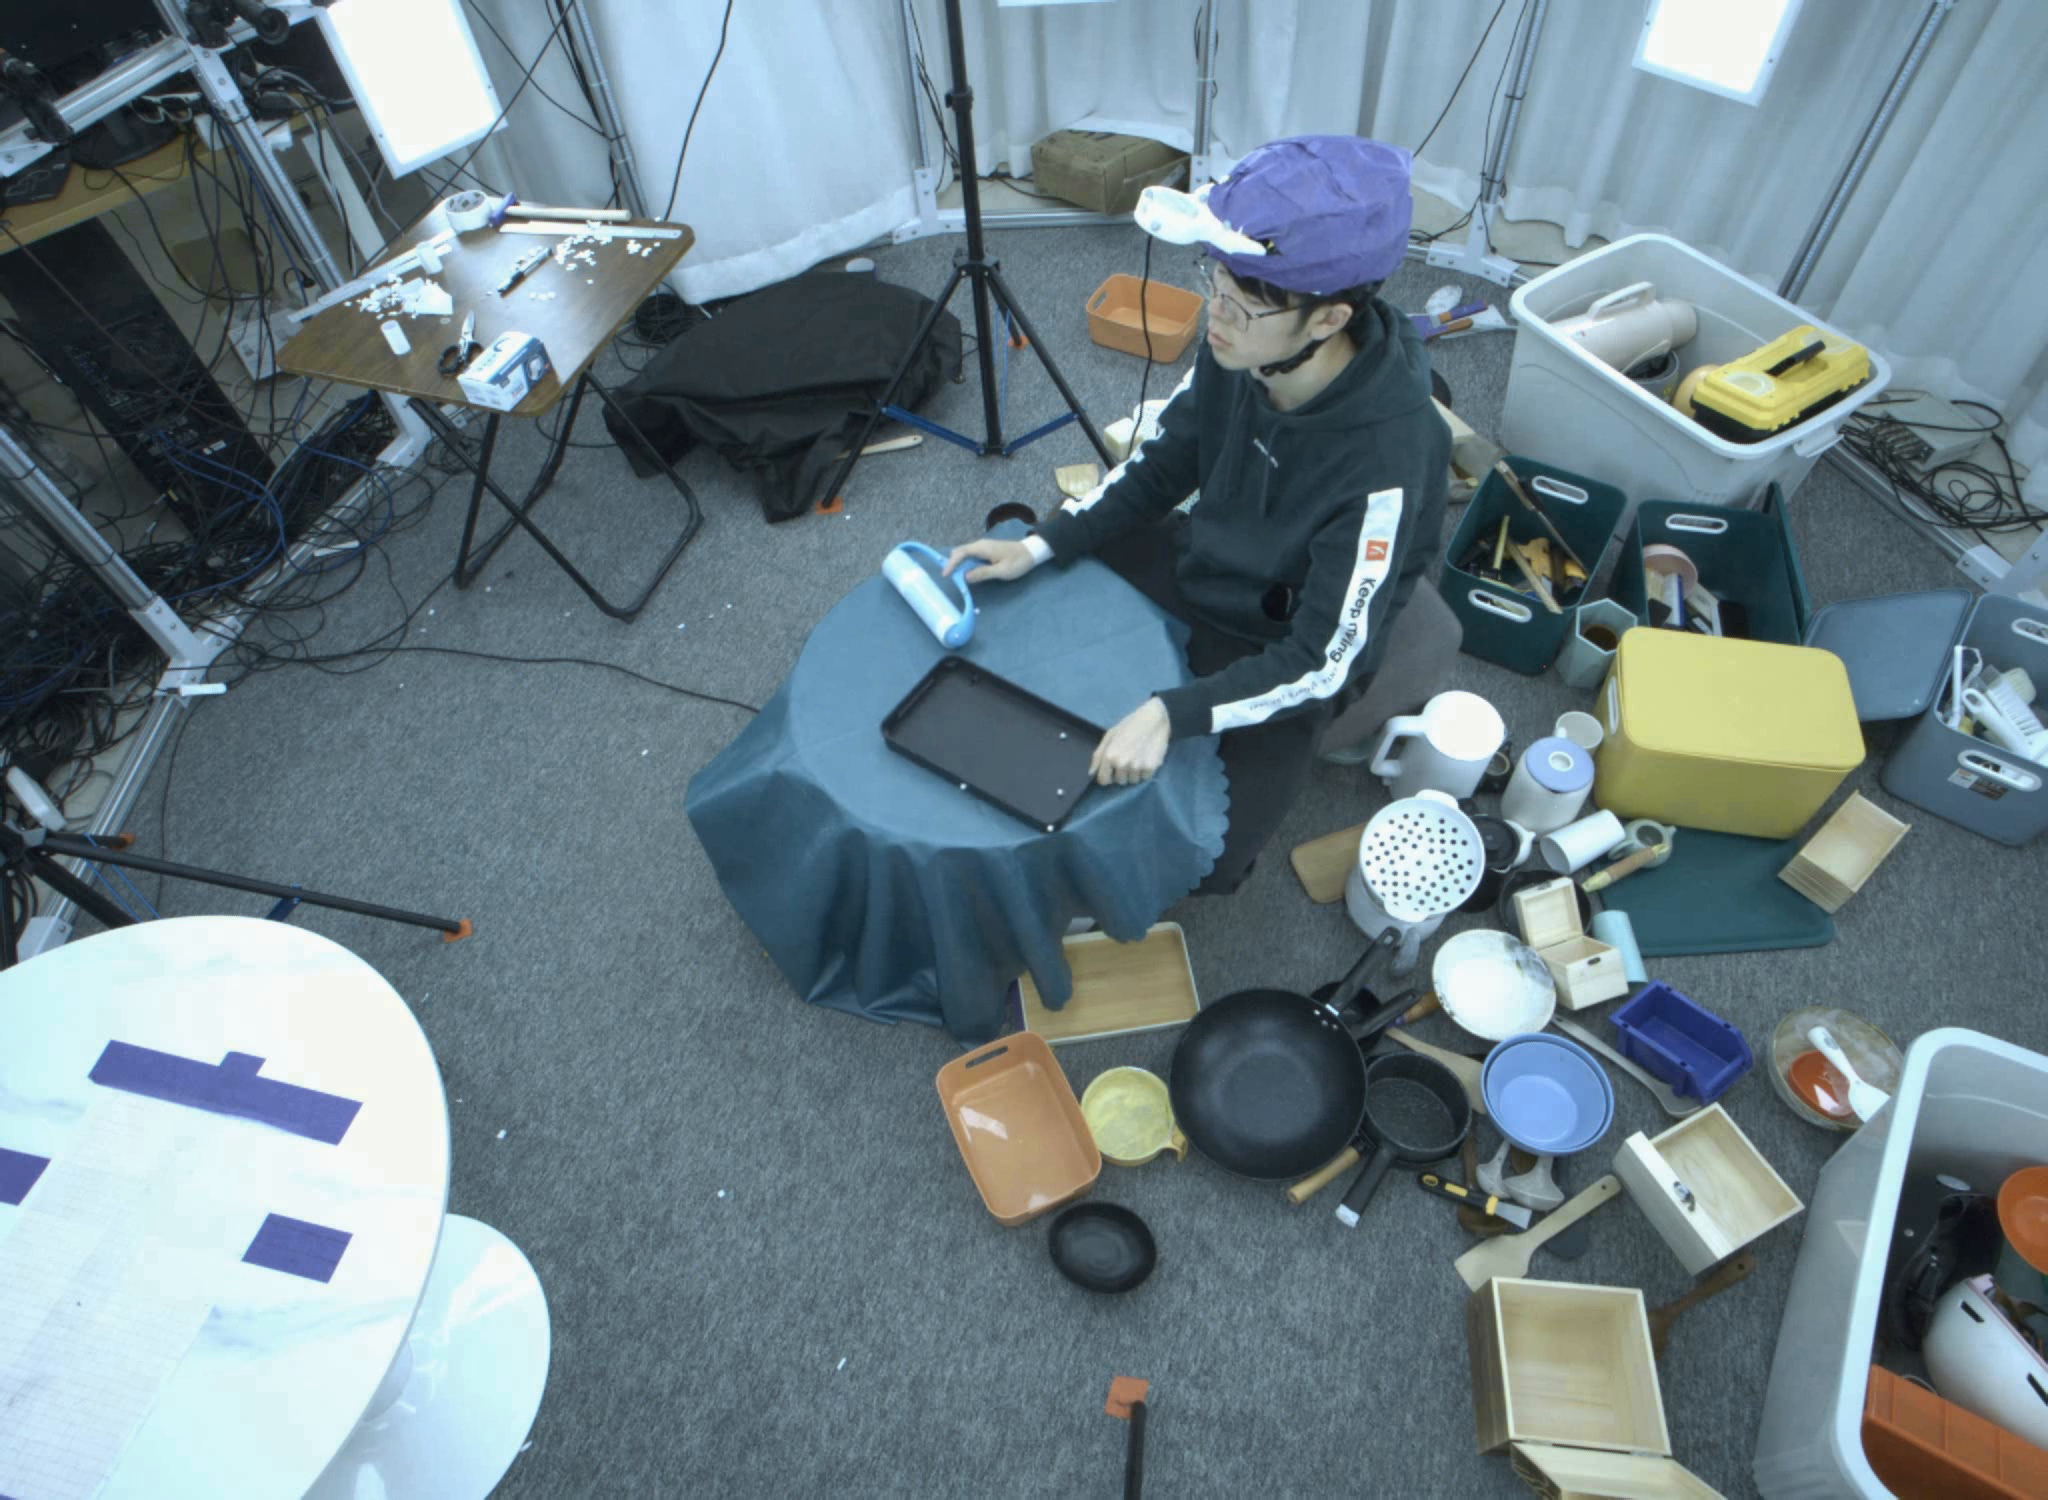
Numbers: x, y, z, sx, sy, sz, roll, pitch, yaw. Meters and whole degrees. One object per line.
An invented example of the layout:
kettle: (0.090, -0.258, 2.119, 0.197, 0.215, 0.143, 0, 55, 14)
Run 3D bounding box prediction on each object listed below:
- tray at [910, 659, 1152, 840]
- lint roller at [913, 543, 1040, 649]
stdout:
tray: (0.008, -0.005, 1.764, 0.313, 0.037, 0.185, 28, 59, 22)
lint roller: (-0.057, -0.267, 1.939, 0.181, 0.069, 0.224, -30, 57, -17)
